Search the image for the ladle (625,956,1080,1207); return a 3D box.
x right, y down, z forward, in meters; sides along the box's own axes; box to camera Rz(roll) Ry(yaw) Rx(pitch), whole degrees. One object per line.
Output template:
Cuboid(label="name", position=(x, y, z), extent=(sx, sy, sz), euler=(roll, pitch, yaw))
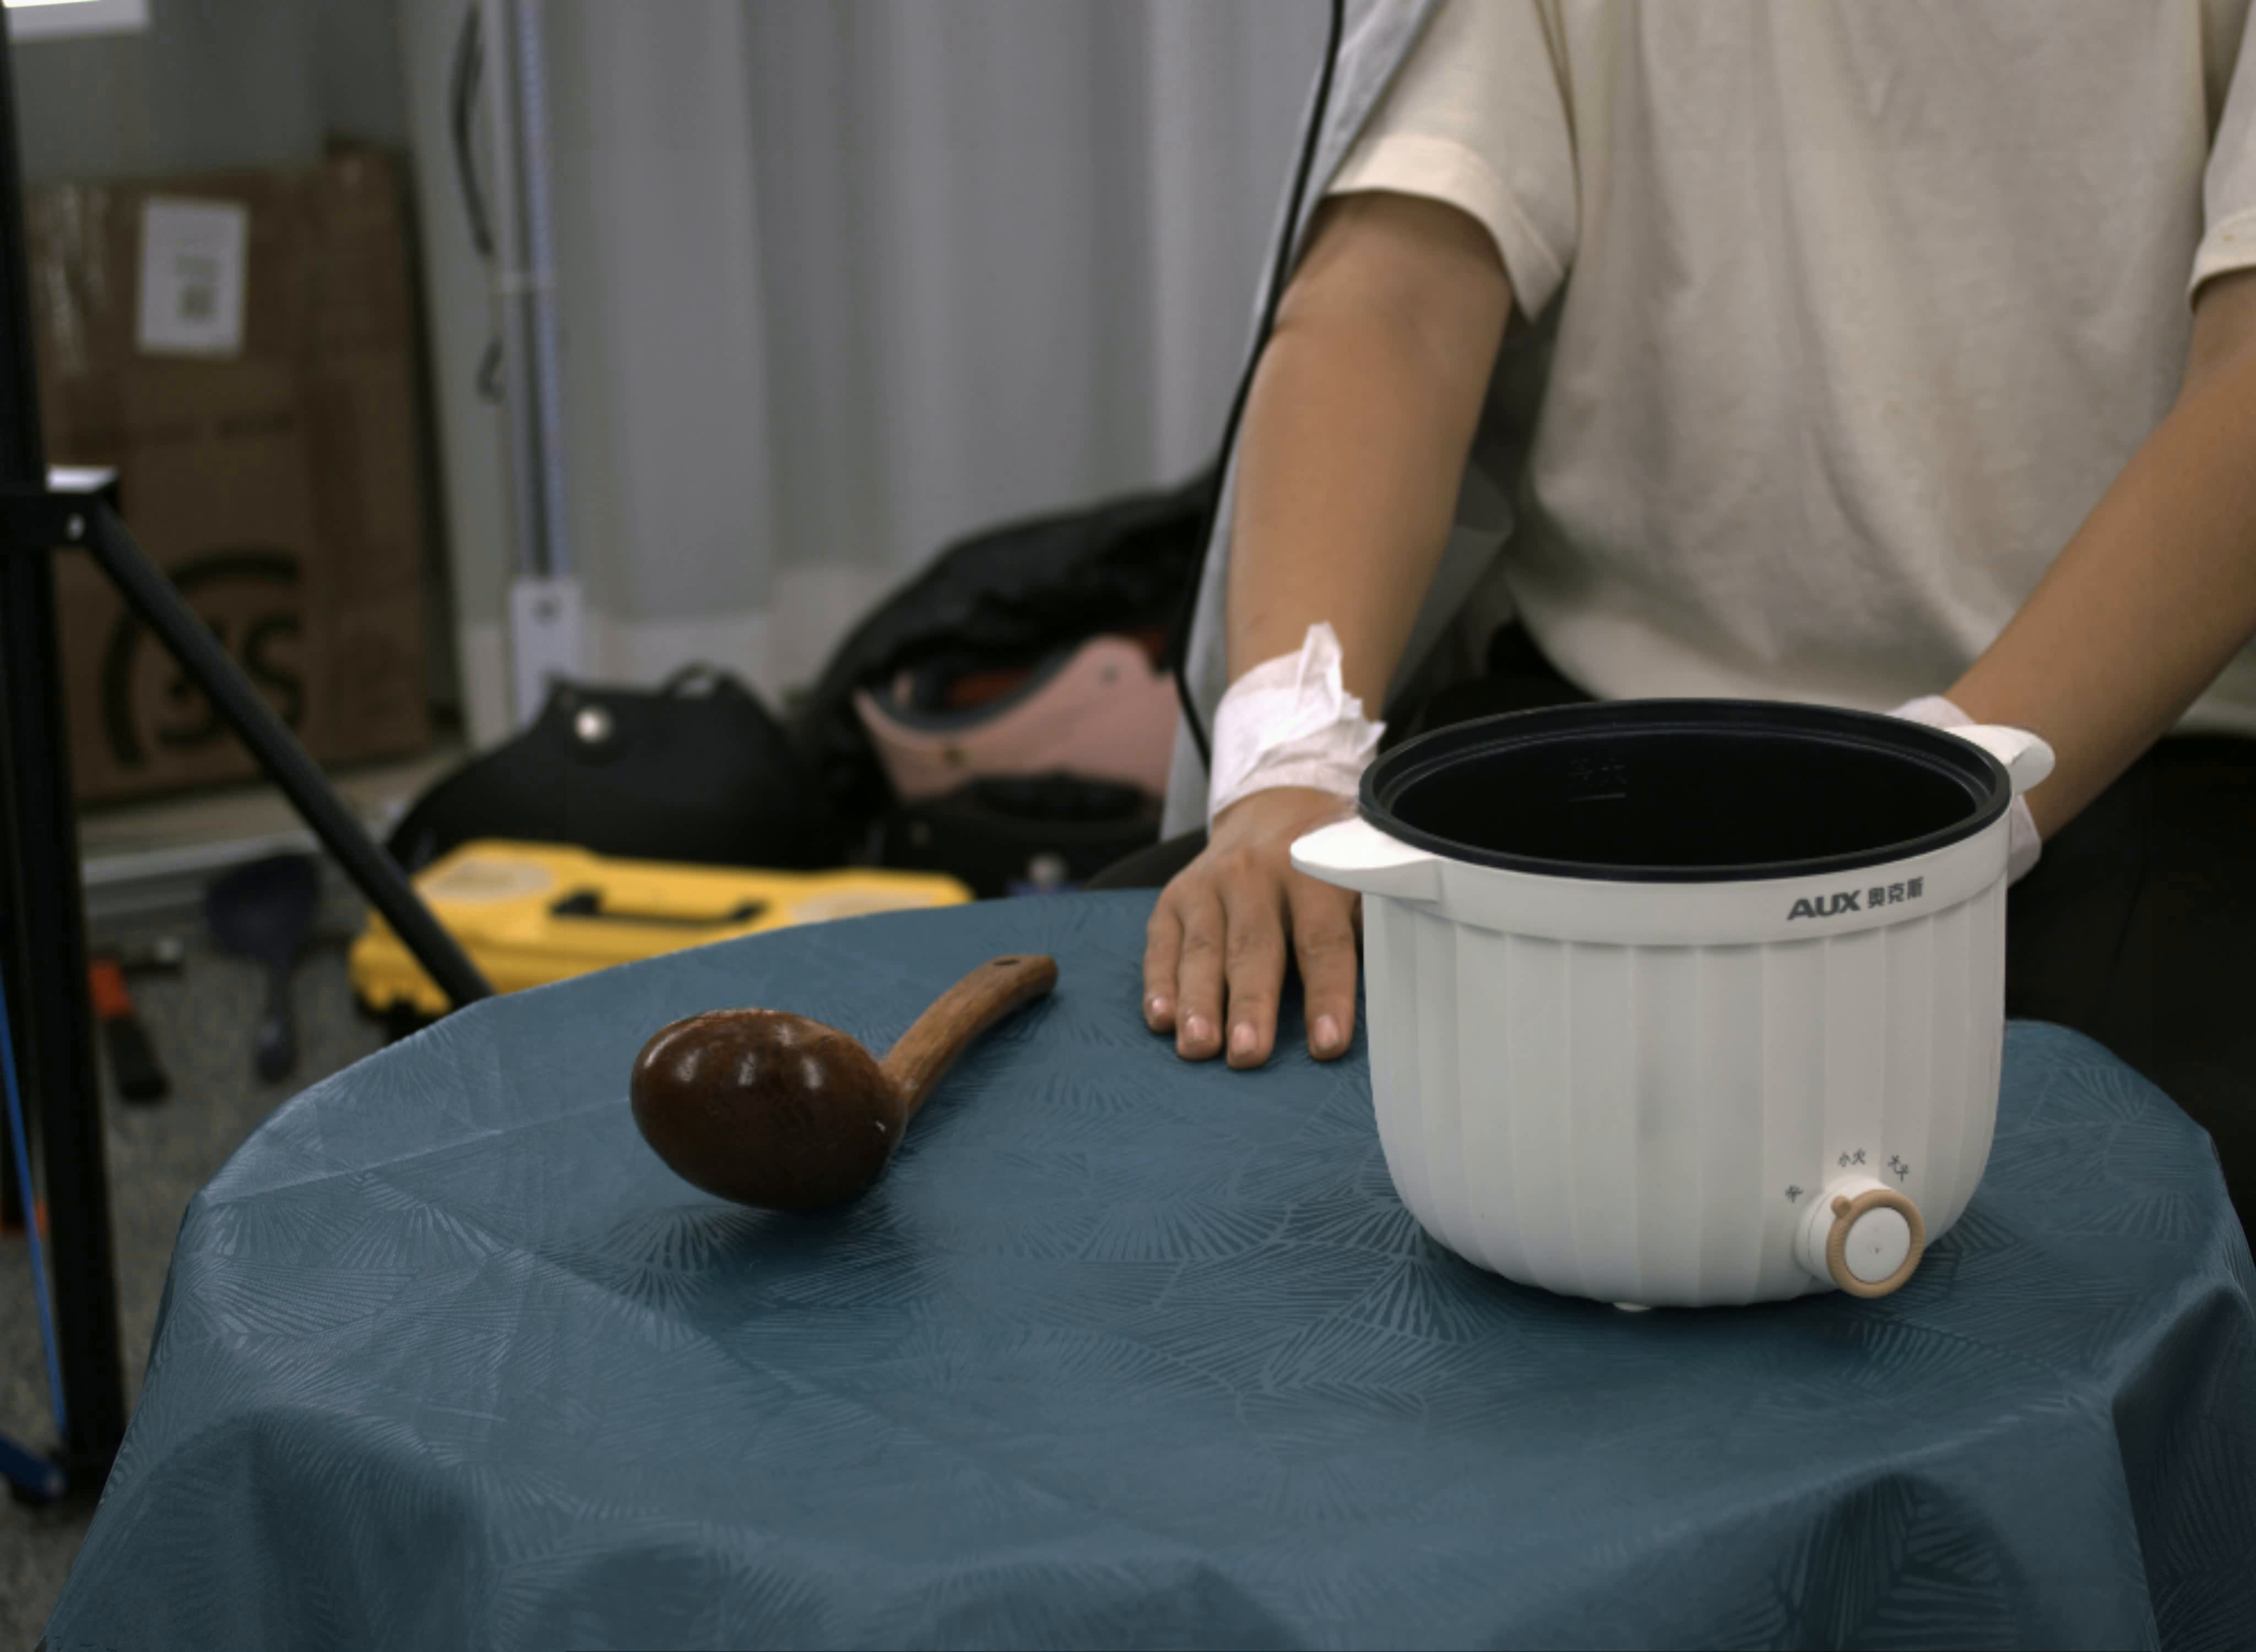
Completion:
Cuboid(label="ladle", position=(-0.073, 0.053, 1.622), extent=(0.083, 0.076, 0.271), euler=(1, 16, 19))

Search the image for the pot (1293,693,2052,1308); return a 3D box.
Cuboid(label="pot", position=(0.159, 0.051, 1.476), extent=(0.235, 0.143, 0.194), euler=(-10, 14, -23))
